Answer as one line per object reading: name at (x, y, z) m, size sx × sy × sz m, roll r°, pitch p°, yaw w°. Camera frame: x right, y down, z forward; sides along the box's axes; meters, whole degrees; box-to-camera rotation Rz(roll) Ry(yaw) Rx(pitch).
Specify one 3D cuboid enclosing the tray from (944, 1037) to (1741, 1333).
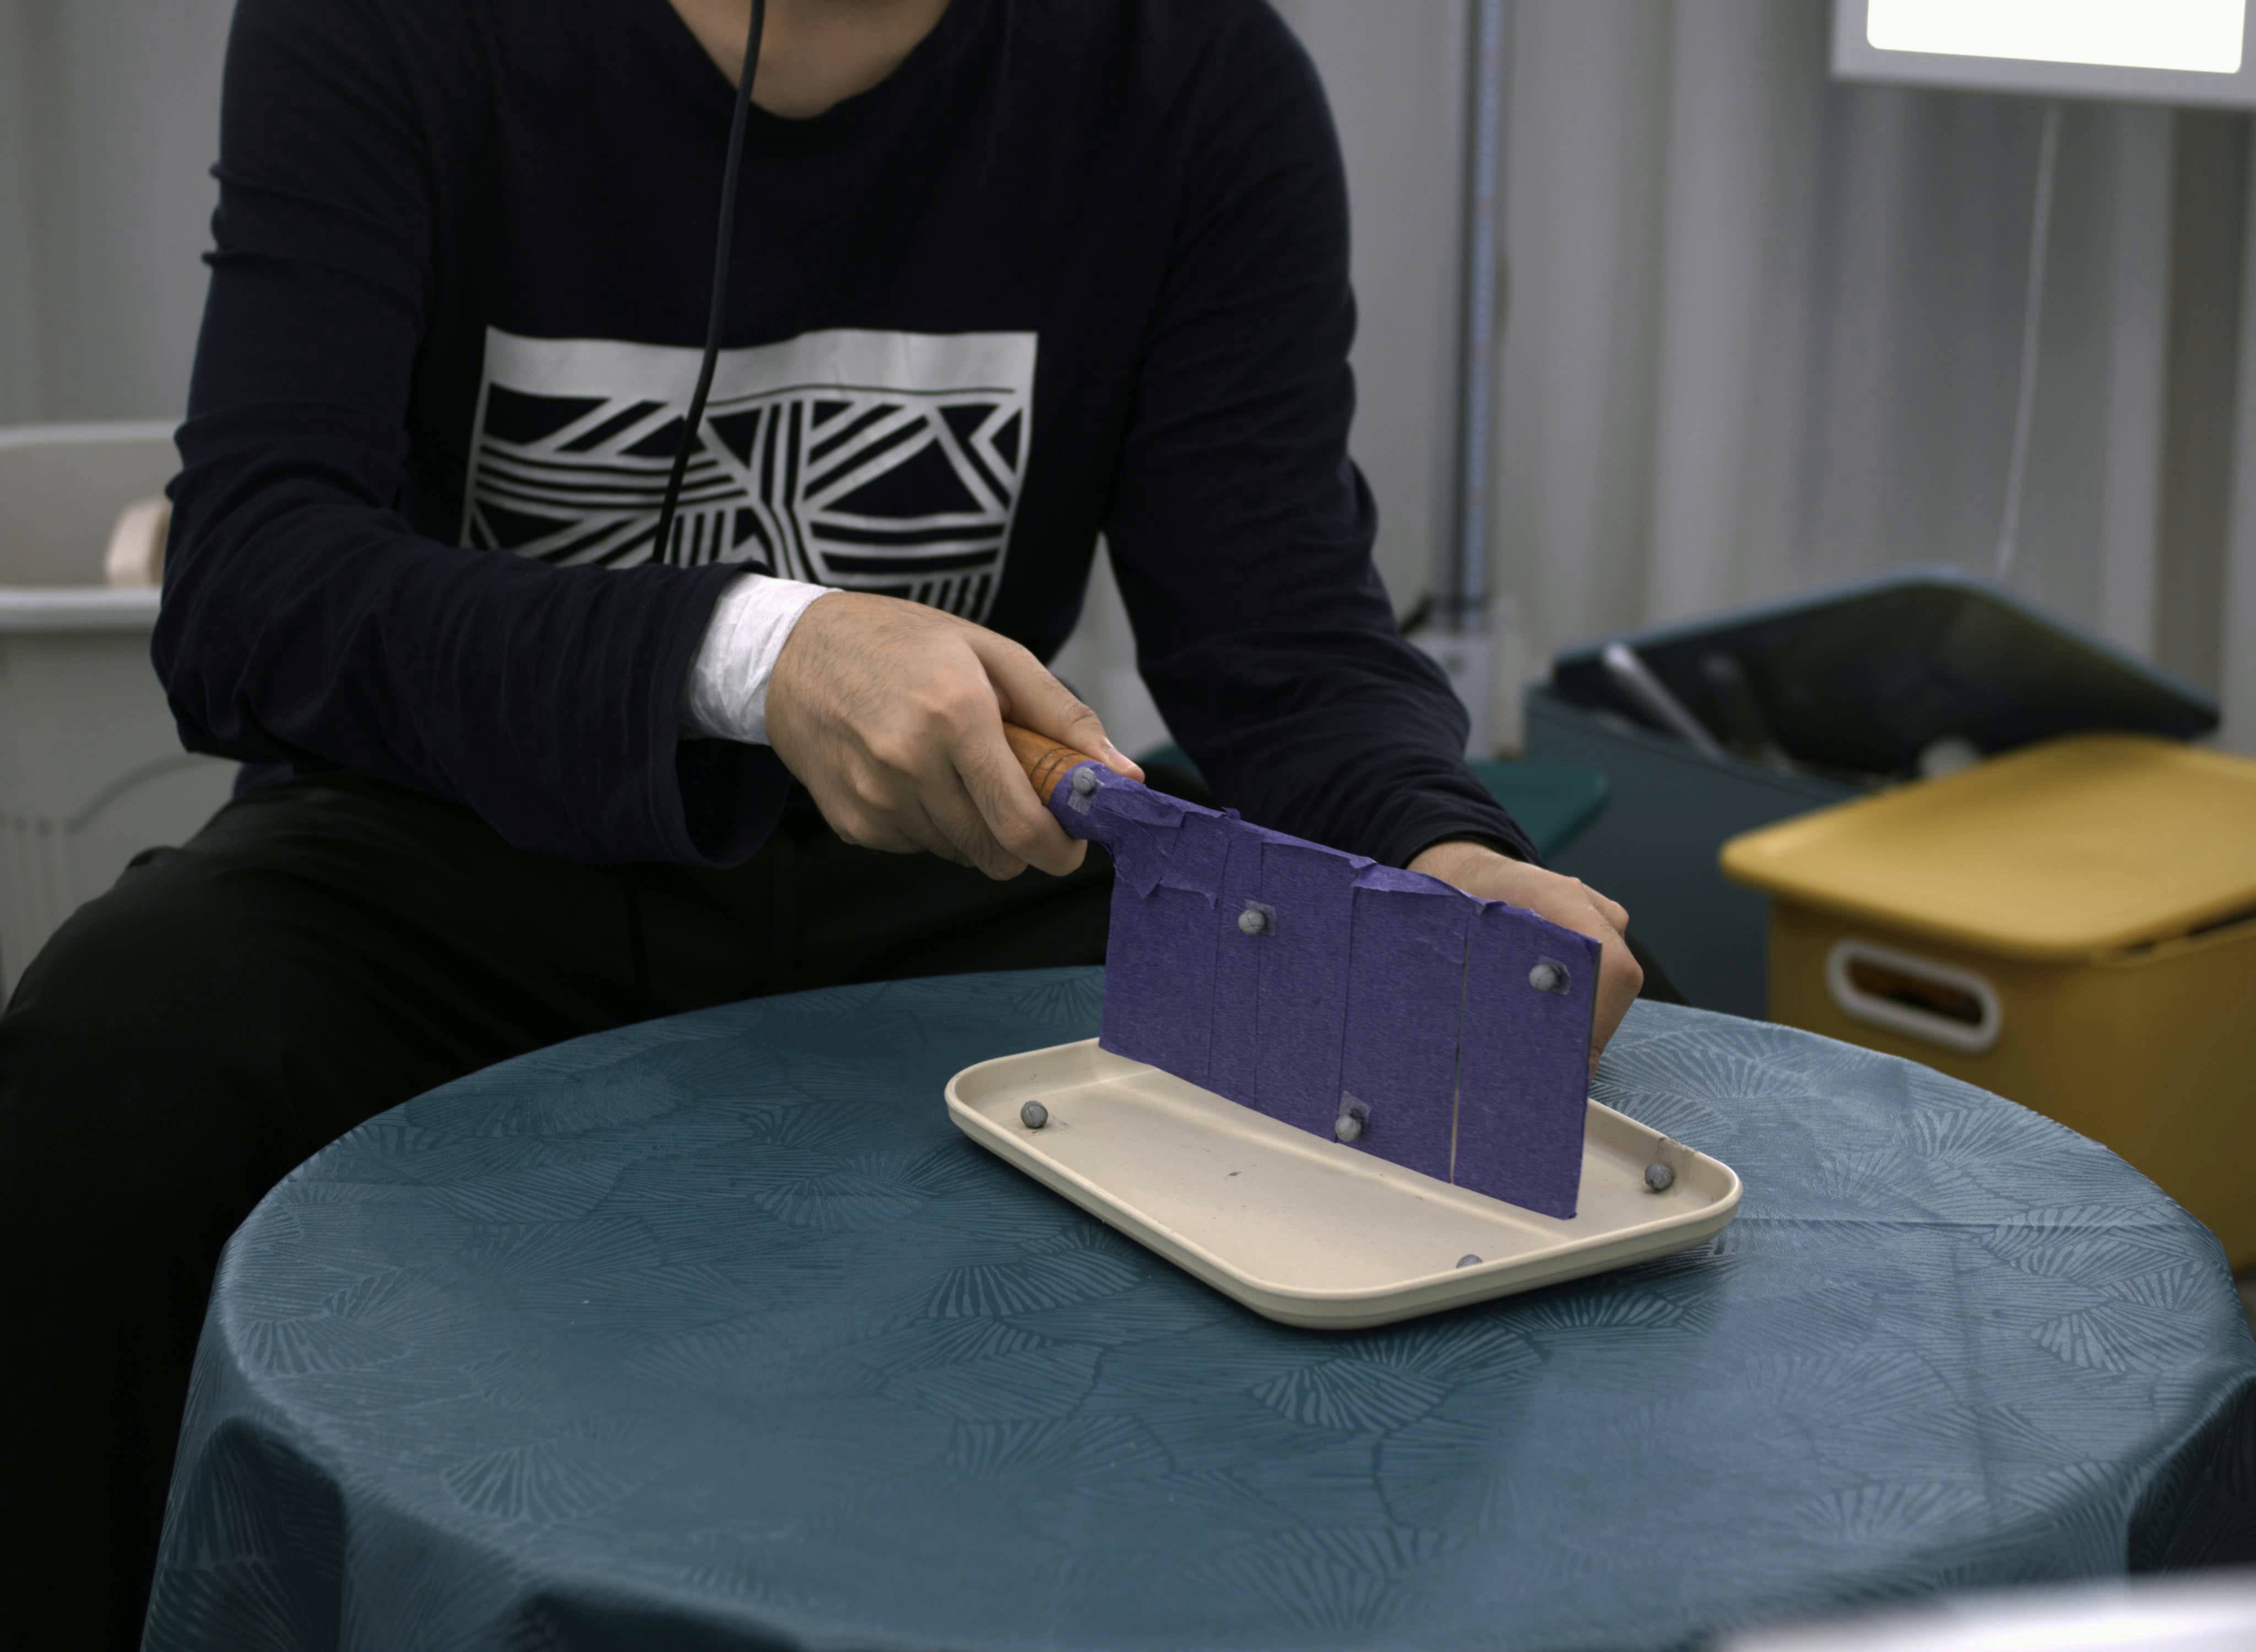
tray at (0.062, 0.102, 1.621) m, size 0.172 × 0.017 × 0.236 m, roll -11°, pitch 19°, yaw -28°

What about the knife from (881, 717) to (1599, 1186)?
knife at (0.028, 0.039, 1.653) m, size 0.032 × 0.104 × 0.311 m, roll -7°, pitch 17°, yaw -41°
